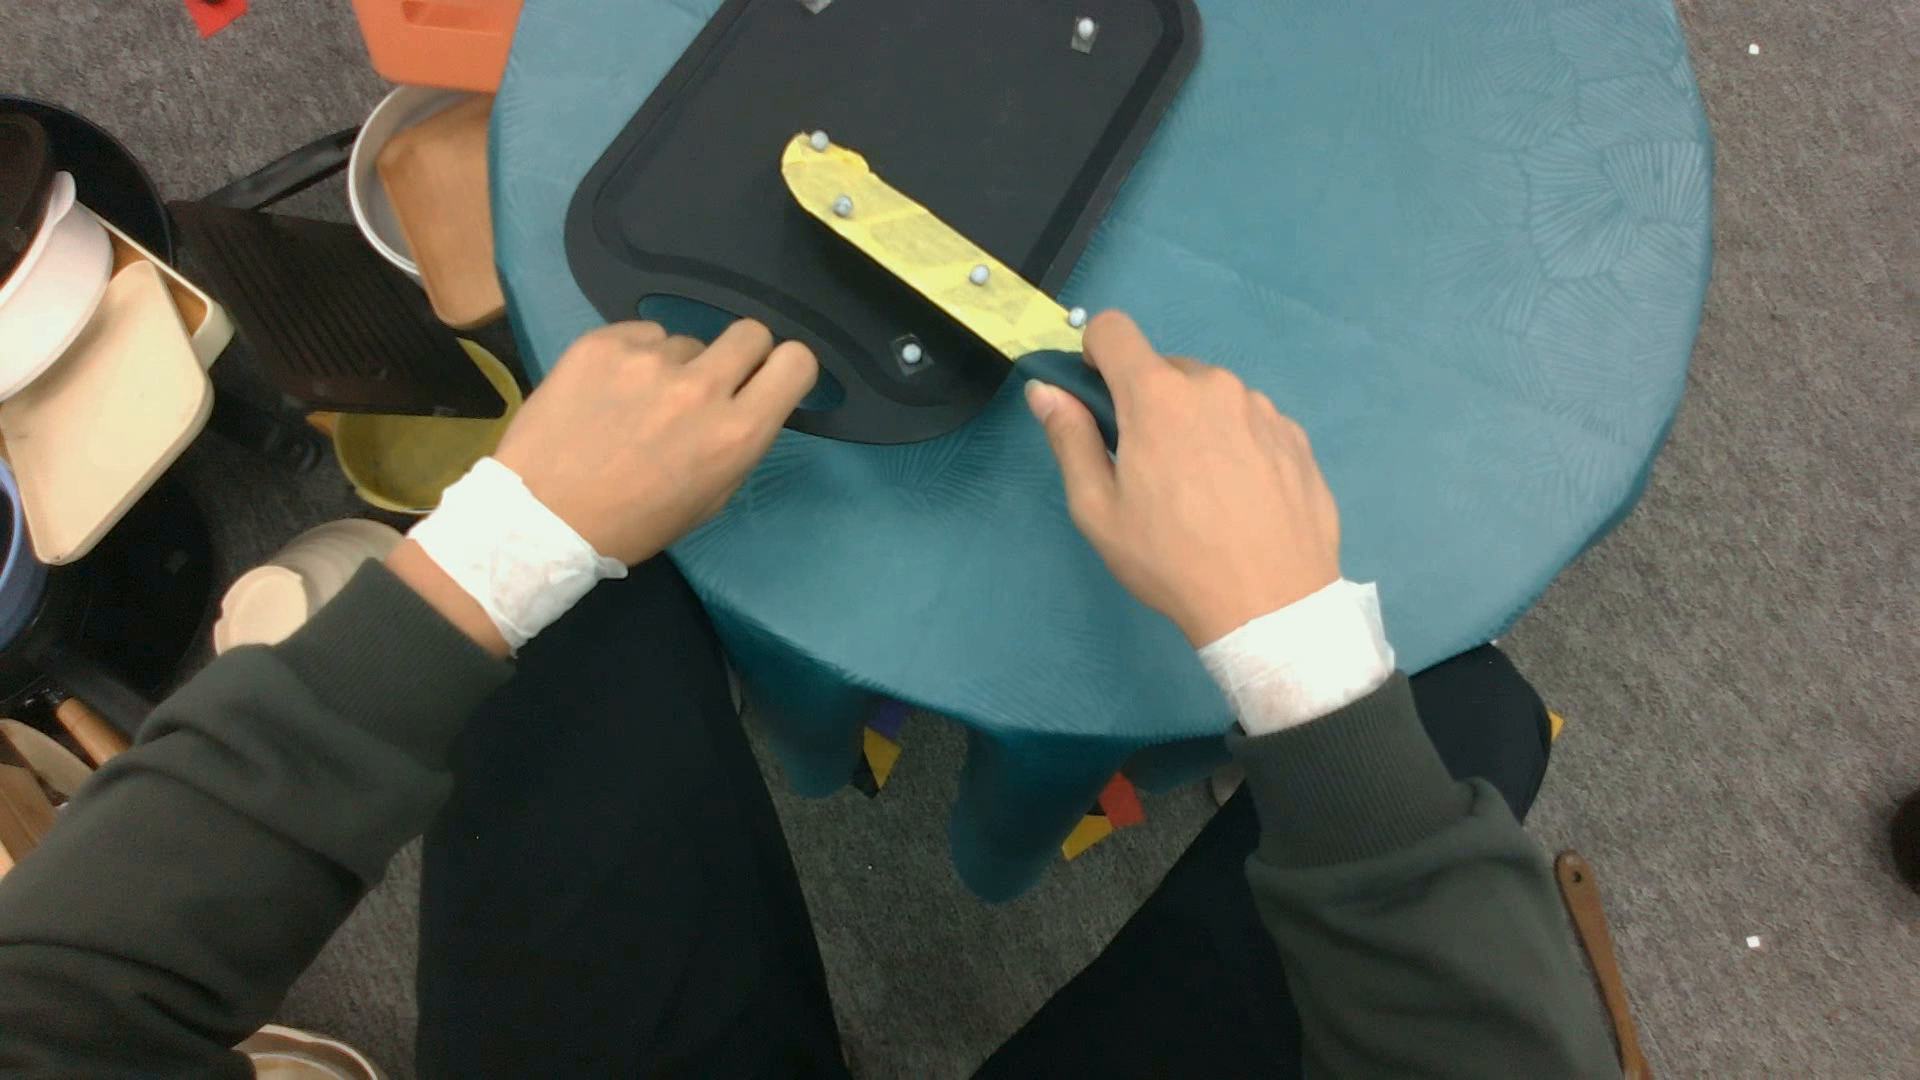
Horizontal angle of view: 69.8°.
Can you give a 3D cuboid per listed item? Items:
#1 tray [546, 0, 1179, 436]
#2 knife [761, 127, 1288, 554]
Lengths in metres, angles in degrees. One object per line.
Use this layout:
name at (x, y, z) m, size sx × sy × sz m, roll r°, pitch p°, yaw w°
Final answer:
tray at (-0.039, -0.195, 0.641) m, size 0.211 × 0.010 × 0.326 m, roll 28°, pitch 67°, yaw 4°
knife at (0.023, -0.093, 0.582) m, size 0.289 × 0.027 × 0.081 m, roll 40°, pitch 35°, yaw 13°
